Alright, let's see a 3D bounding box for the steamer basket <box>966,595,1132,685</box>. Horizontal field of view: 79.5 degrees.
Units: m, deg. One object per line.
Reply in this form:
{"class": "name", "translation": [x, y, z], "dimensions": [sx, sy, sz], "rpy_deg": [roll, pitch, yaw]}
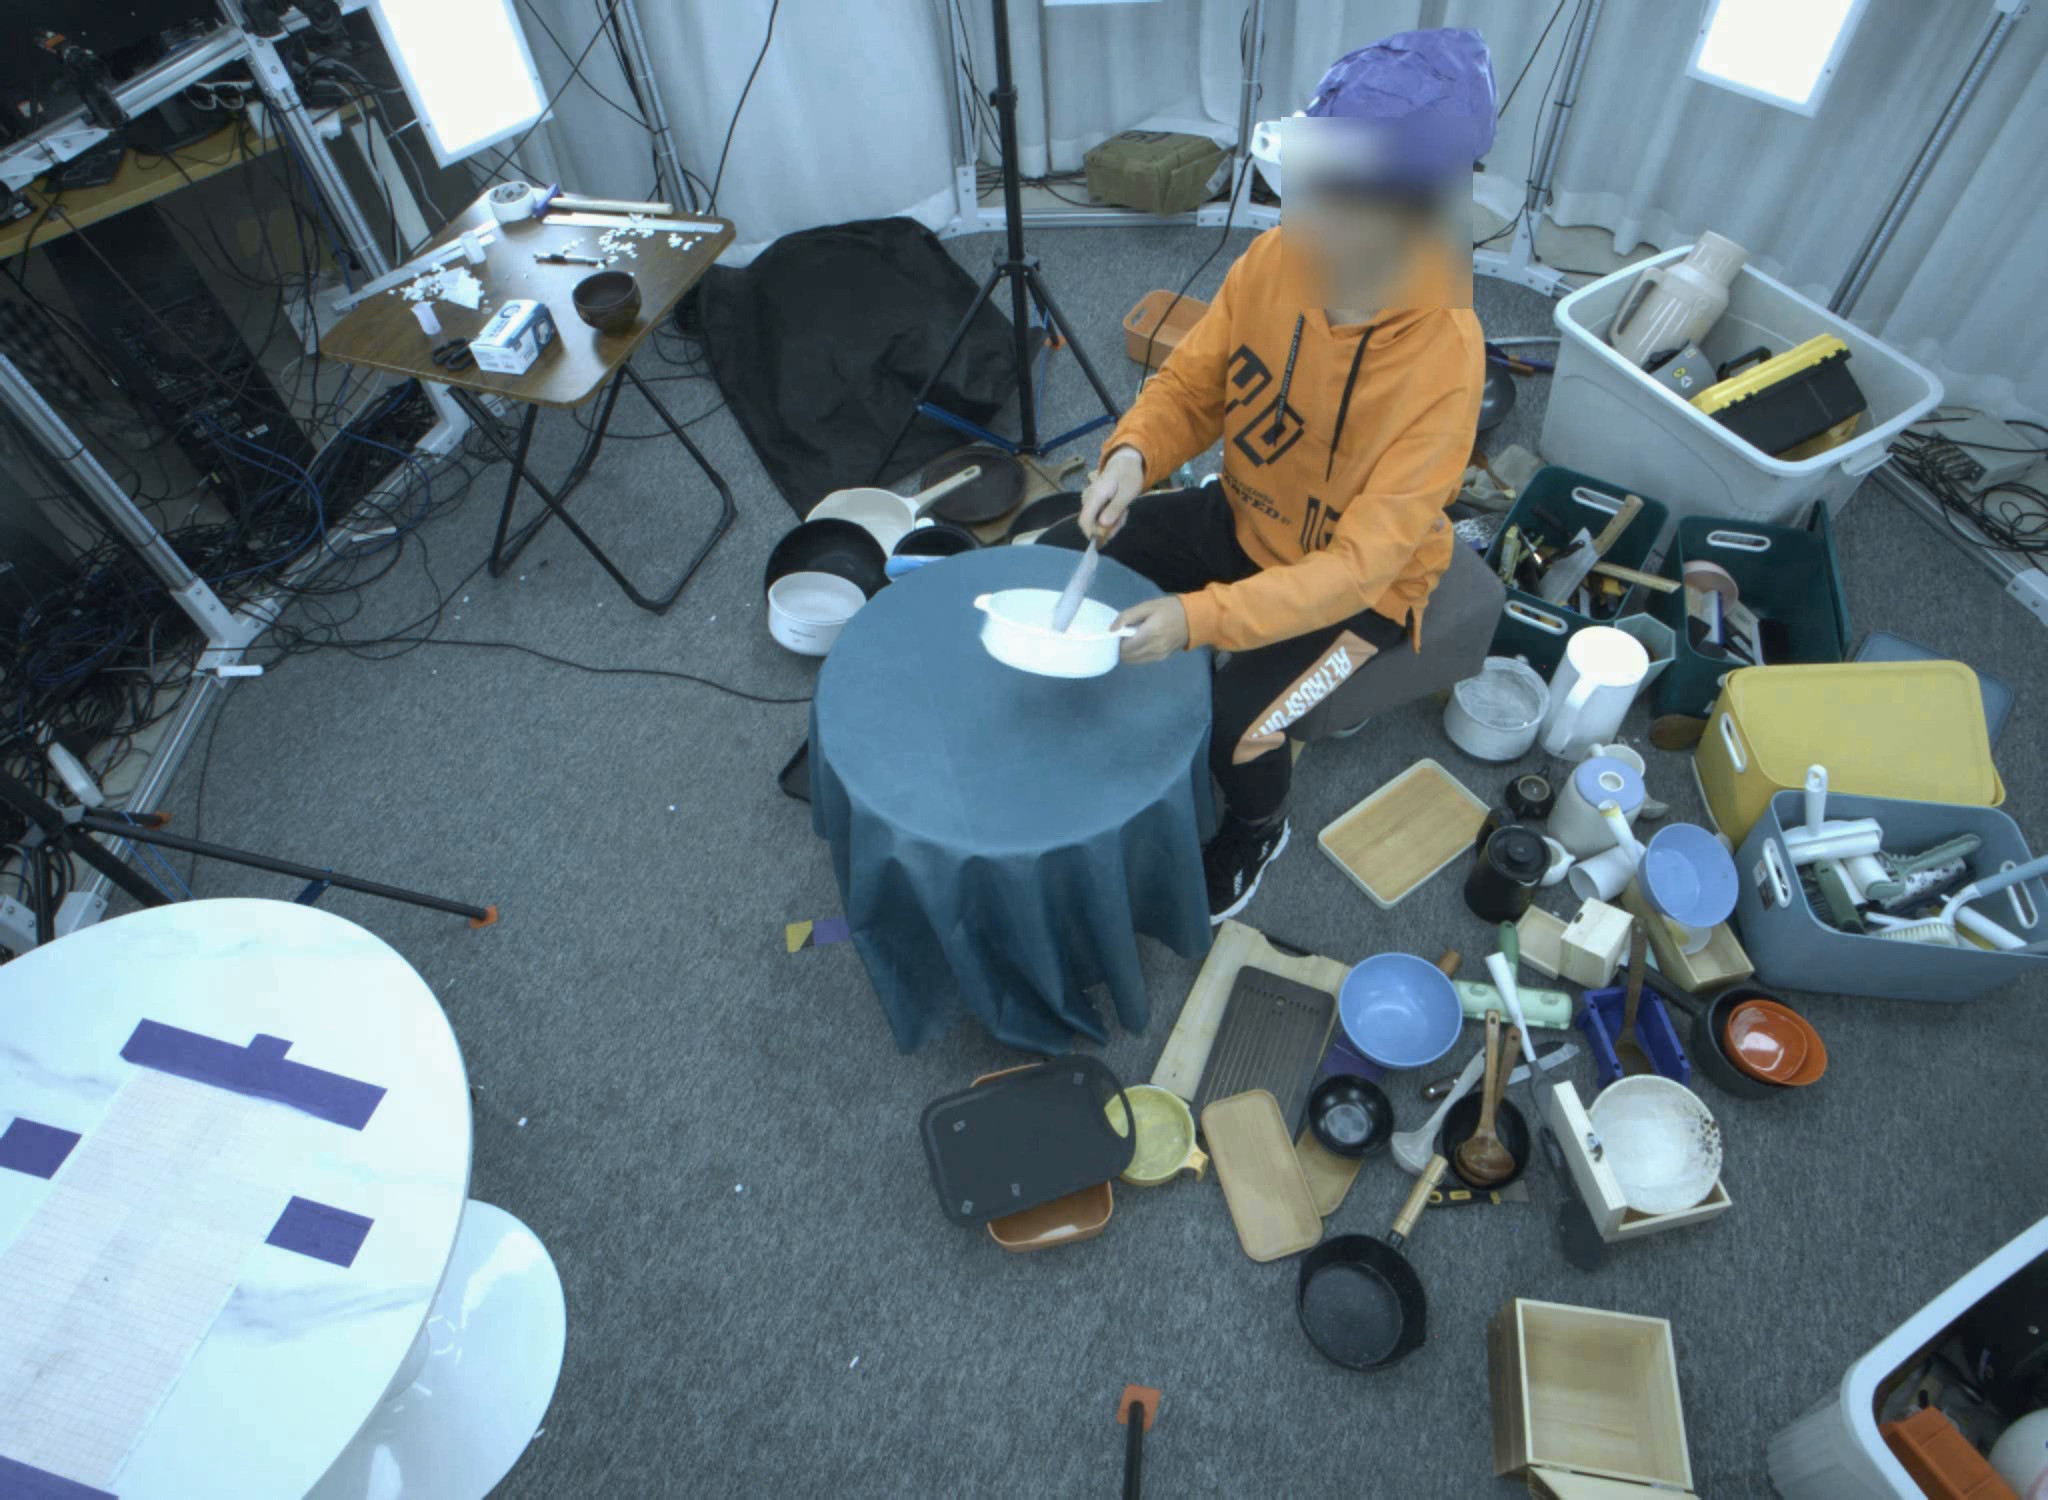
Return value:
{"class": "steamer basket", "translation": [0.033, -0.153, 1.720], "dimensions": [0.230, 0.069, 0.201], "rpy_deg": [8, 26, 4]}

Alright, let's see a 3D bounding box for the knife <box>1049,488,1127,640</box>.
{"class": "knife", "translation": [0.090, -0.260, 1.747], "dimensions": [0.021, 0.094, 0.305], "rpy_deg": [16, 49, 13]}
